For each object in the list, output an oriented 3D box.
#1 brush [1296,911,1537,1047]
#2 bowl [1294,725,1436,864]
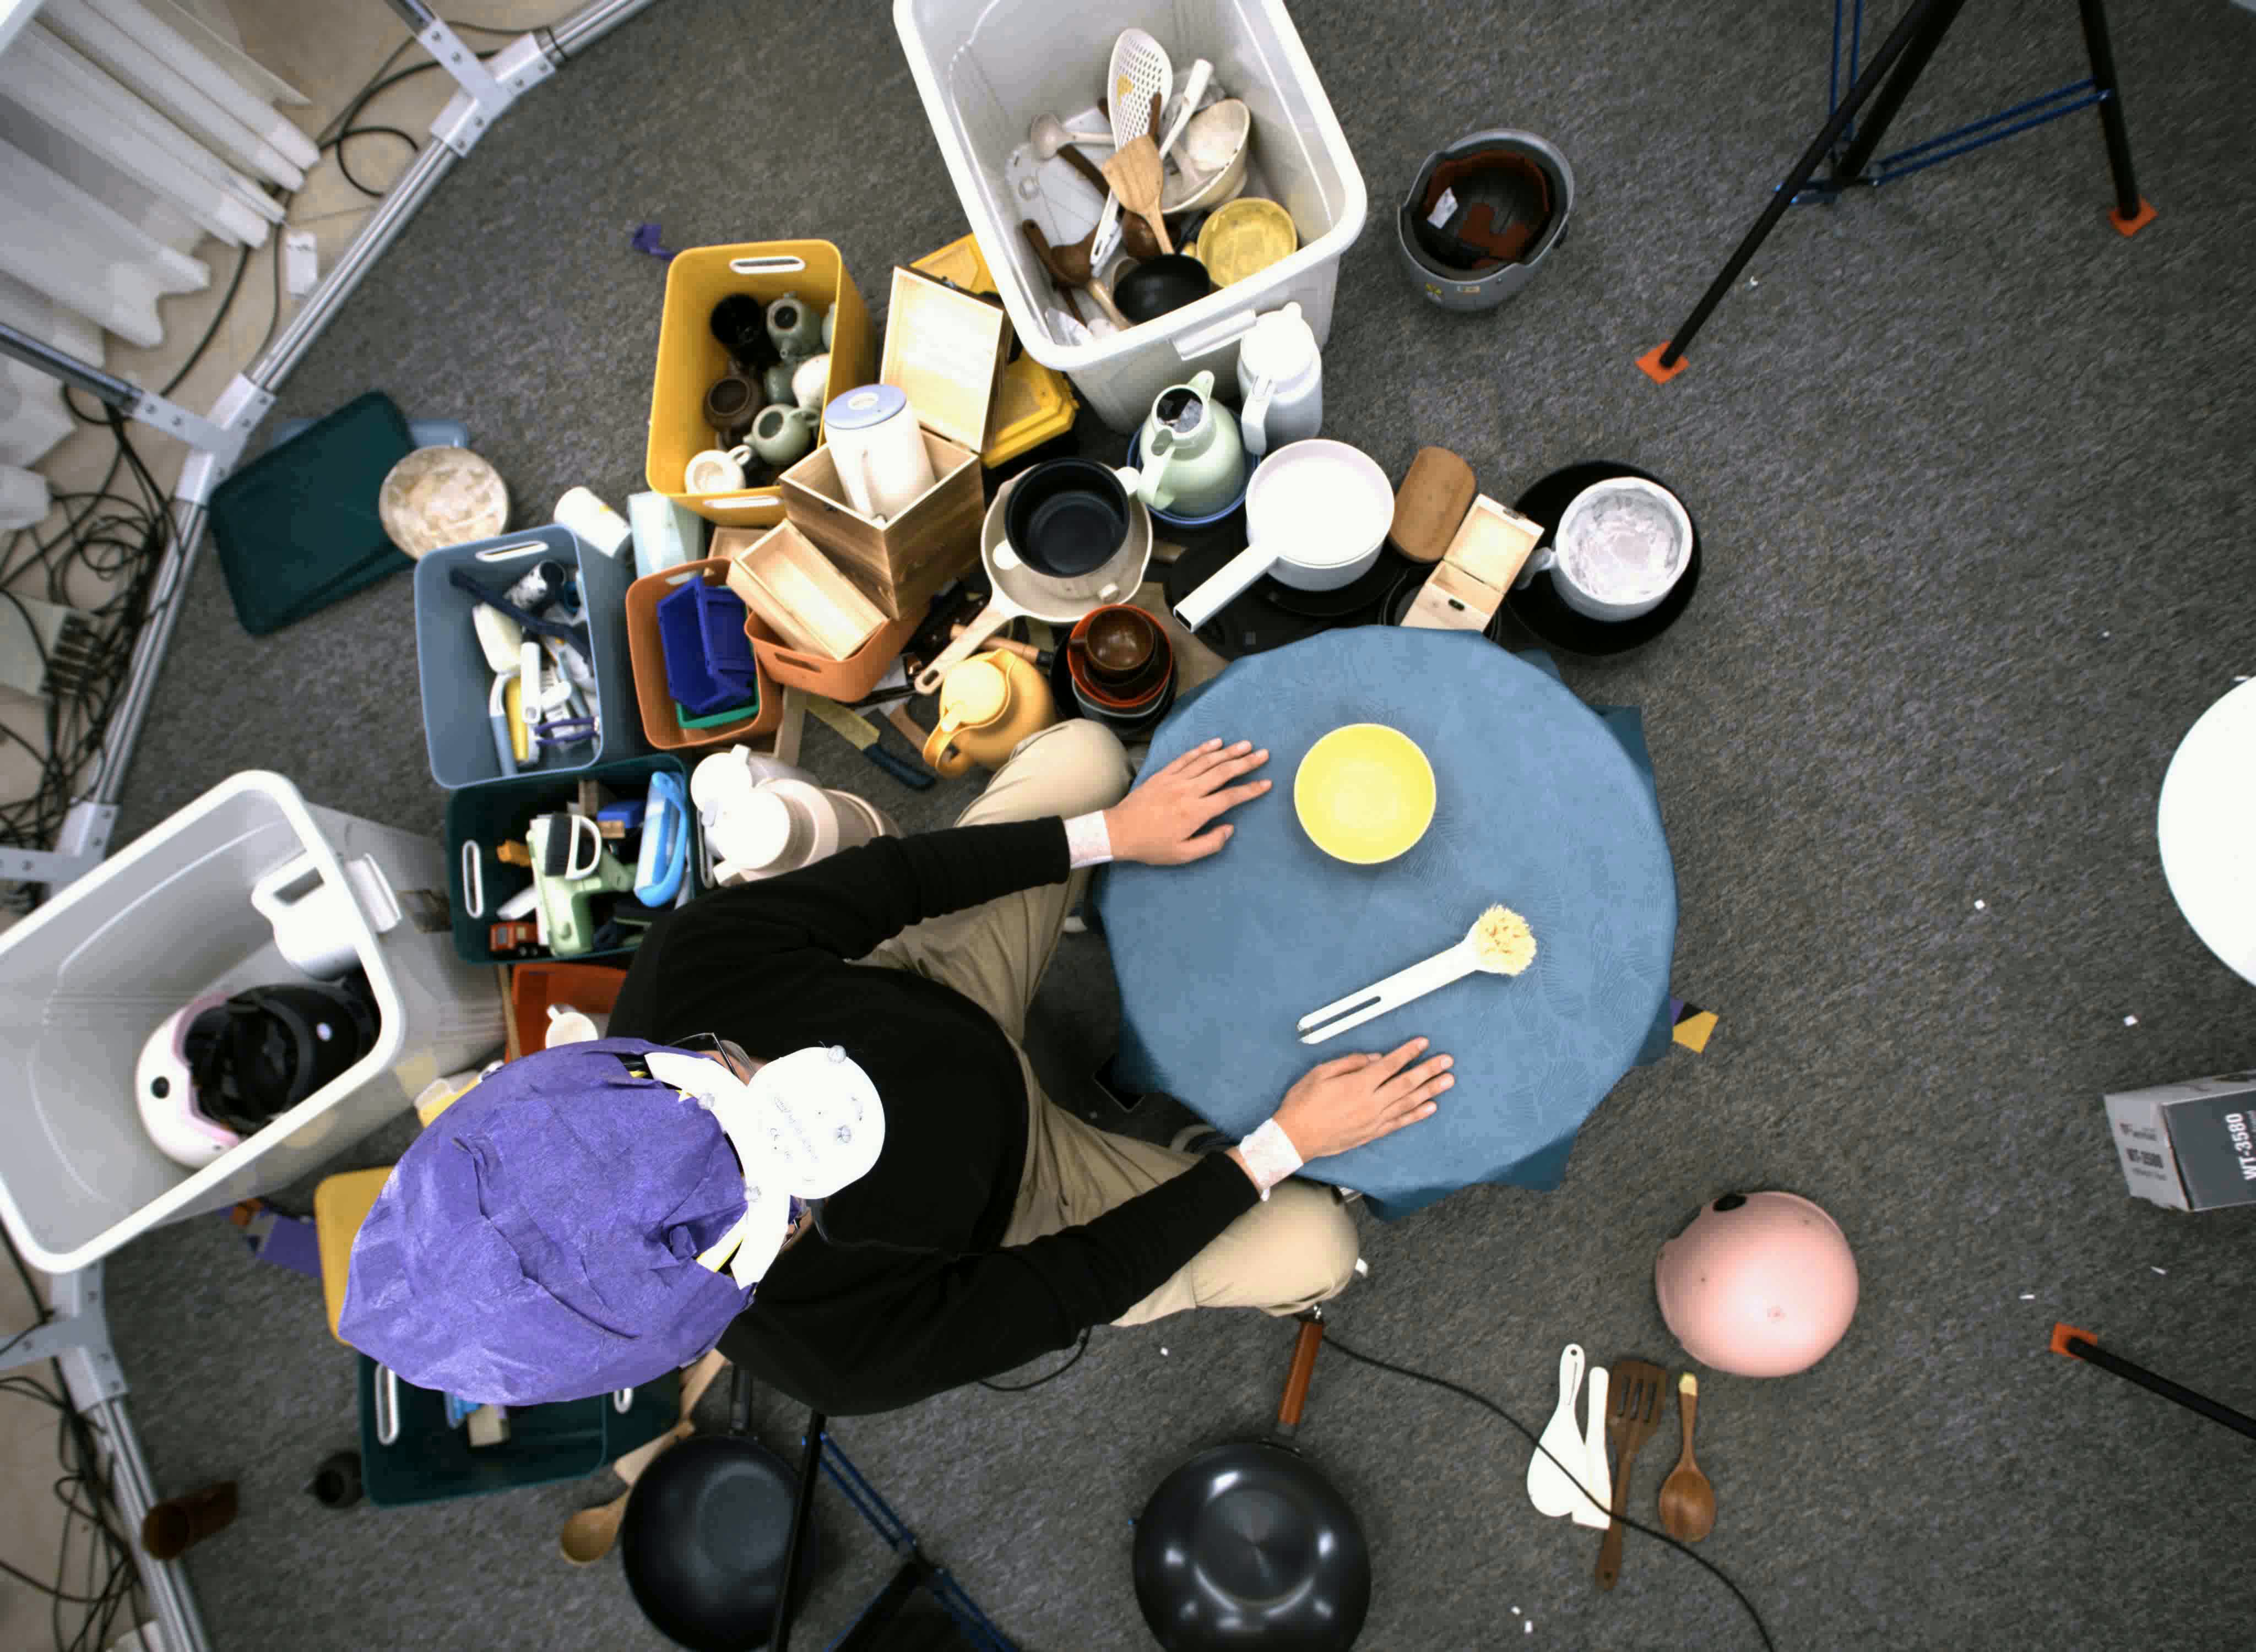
[{"bbox_3d":[0.294,0.165,1.423,0.268,0.056,0.068,-25,77,9],"label":"brush"},{"bbox_3d":[0.248,-0.031,1.440,0.146,0.060,0.144,-1,85,12],"label":"bowl"}]
